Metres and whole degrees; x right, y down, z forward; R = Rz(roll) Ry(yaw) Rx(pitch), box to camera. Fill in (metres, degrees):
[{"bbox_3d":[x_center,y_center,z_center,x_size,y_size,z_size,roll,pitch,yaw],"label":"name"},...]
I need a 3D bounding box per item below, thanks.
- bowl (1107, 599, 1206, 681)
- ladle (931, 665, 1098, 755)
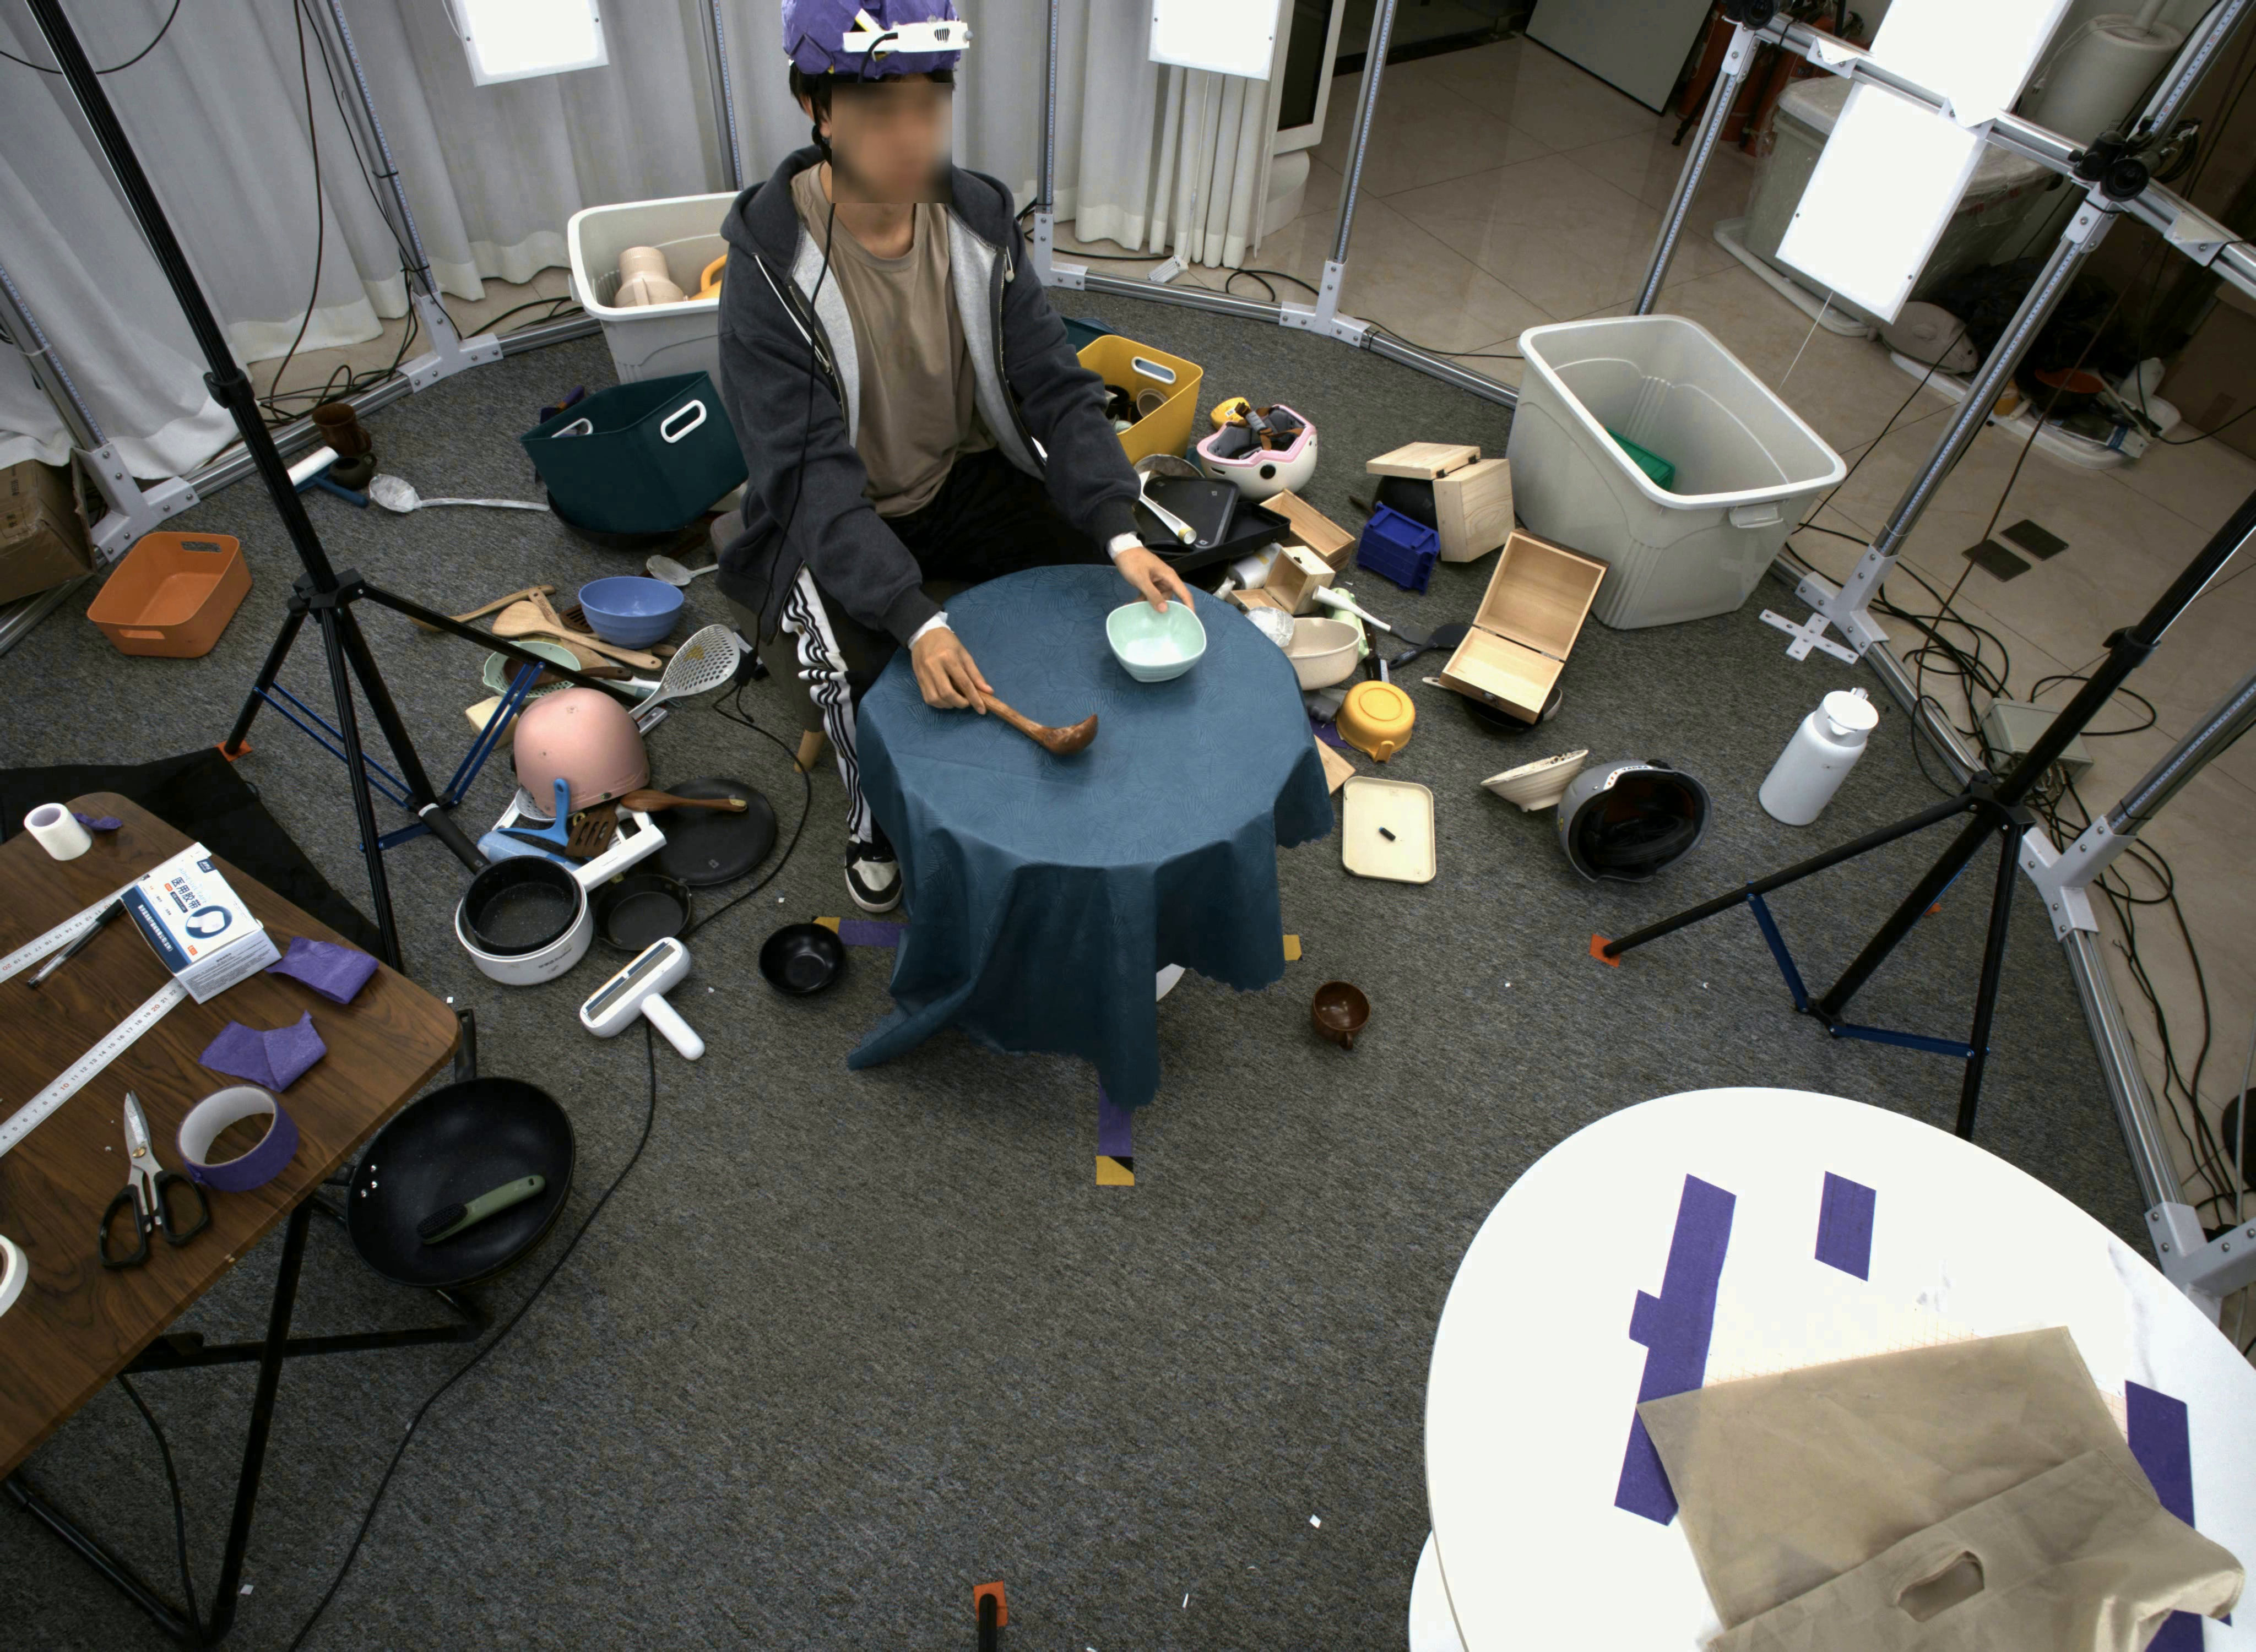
[{"bbox_3d":[0.039,-0.260,1.856,0.151,0.057,0.155,2,50,-2],"label":"bowl"},{"bbox_3d":[-0.161,-0.176,1.754,0.277,0.075,0.083,33,40,21],"label":"ladle"}]
